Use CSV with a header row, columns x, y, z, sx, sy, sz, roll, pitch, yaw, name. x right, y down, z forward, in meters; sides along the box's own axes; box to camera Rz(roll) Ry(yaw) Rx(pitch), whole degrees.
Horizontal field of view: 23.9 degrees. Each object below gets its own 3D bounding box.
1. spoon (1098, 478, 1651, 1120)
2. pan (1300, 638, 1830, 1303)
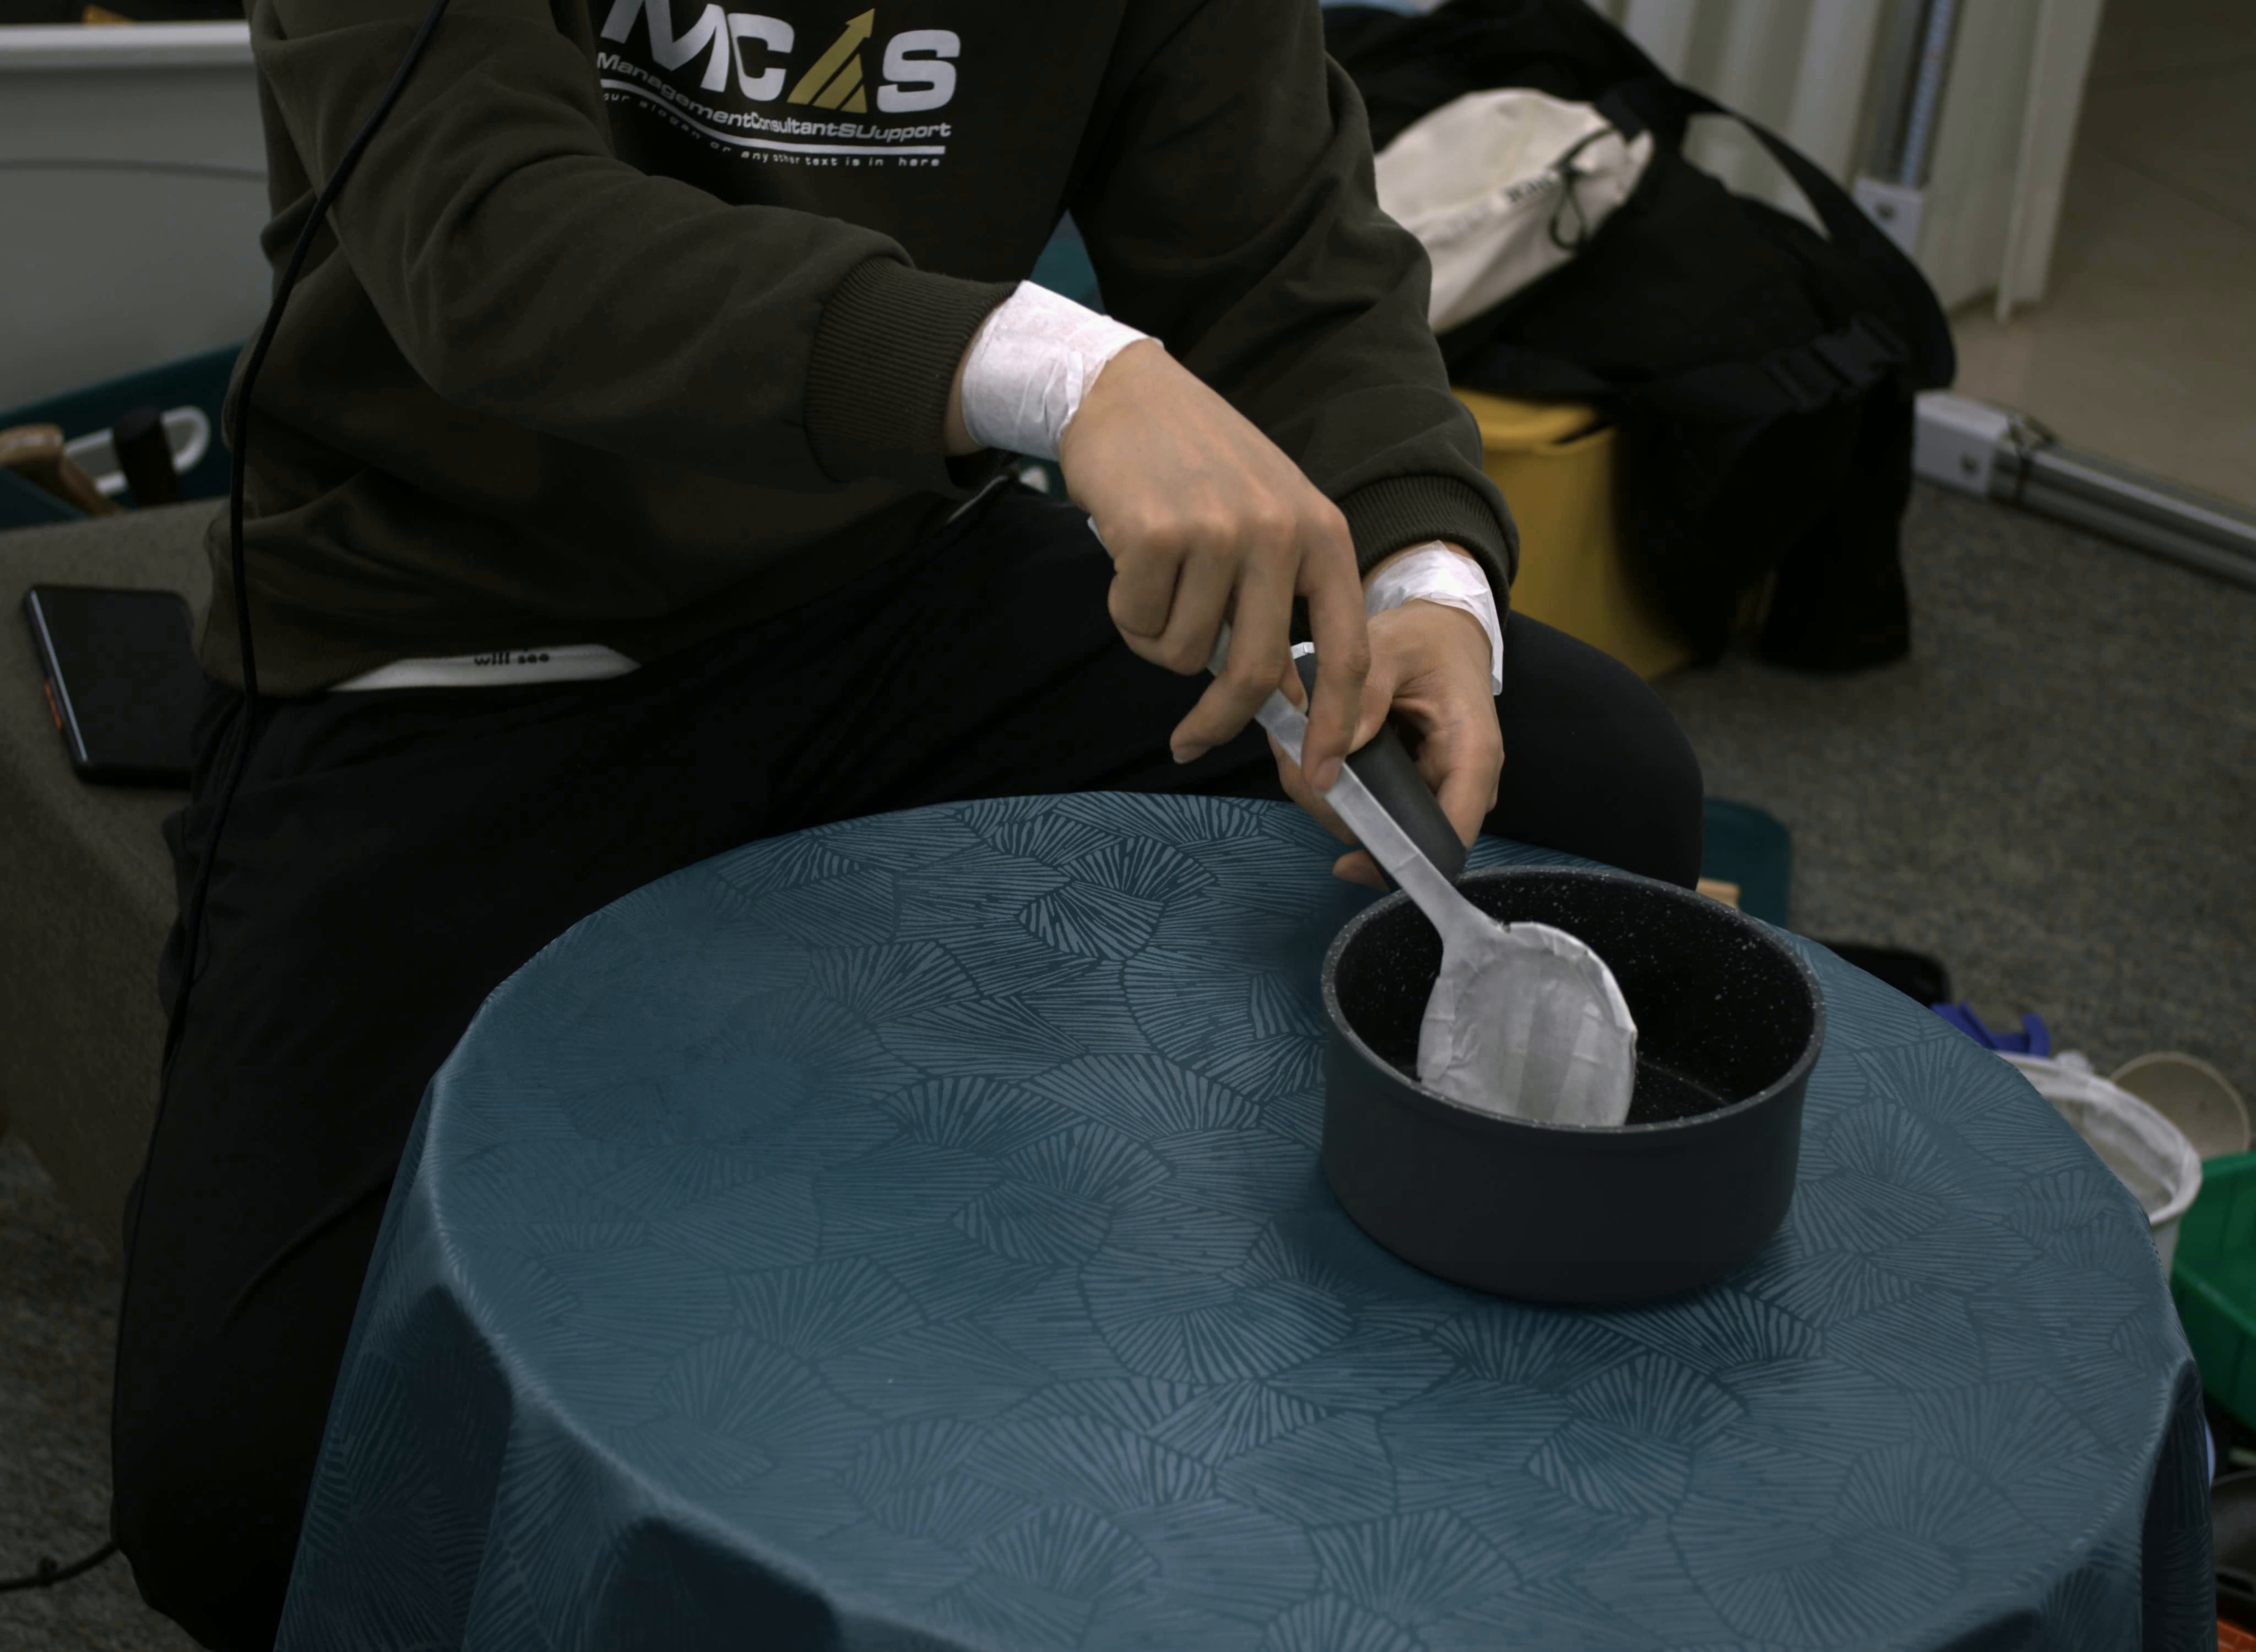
x,y,z,sx,sy,sz,roll,pitch,yaw,name
0.077,-0.004,1.798,0.277,0.100,0.059,51,25,-6,spoon
0.125,0.047,1.877,0.171,0.086,0.332,-6,31,-17,pan
